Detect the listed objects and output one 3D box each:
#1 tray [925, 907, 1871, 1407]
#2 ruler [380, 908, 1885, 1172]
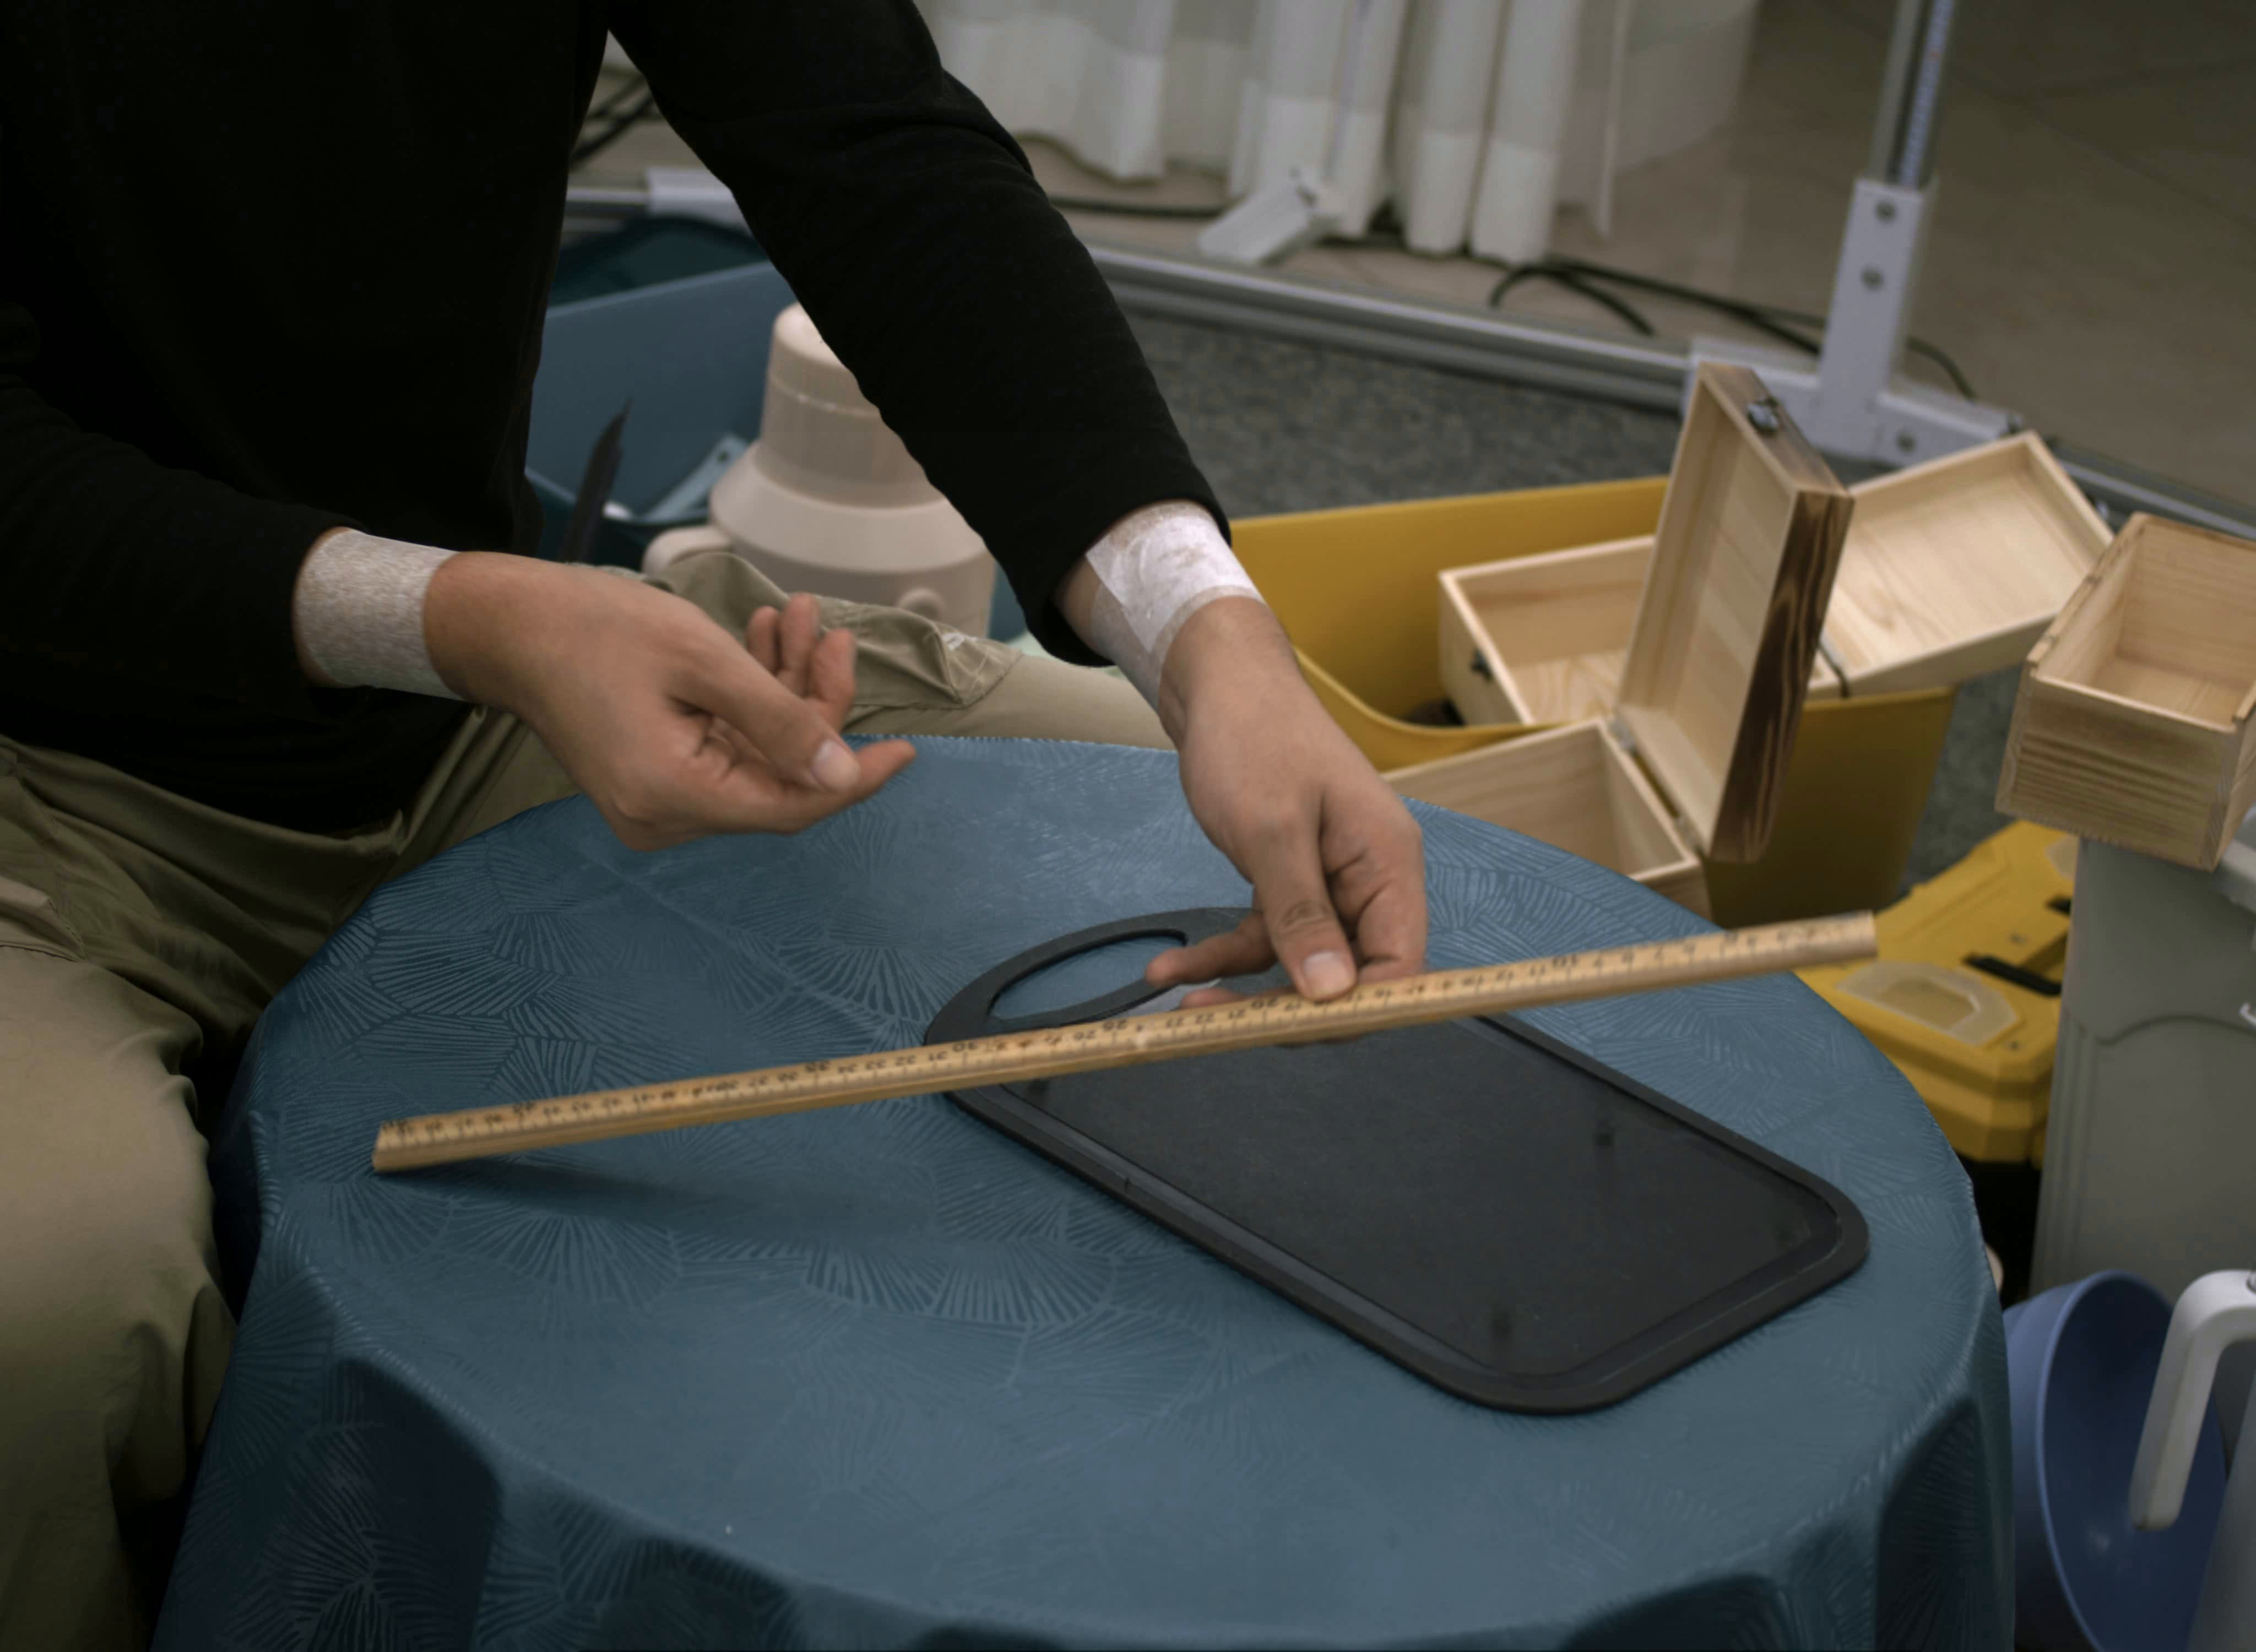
[{"bbox_3d":[0.085,0.105,1.849,0.328,0.010,0.210,28,34,36],"label":"tray"},{"bbox_3d":[-0.003,0.070,1.738,0.500,0.006,0.027,-9,24,8],"label":"ruler"}]
